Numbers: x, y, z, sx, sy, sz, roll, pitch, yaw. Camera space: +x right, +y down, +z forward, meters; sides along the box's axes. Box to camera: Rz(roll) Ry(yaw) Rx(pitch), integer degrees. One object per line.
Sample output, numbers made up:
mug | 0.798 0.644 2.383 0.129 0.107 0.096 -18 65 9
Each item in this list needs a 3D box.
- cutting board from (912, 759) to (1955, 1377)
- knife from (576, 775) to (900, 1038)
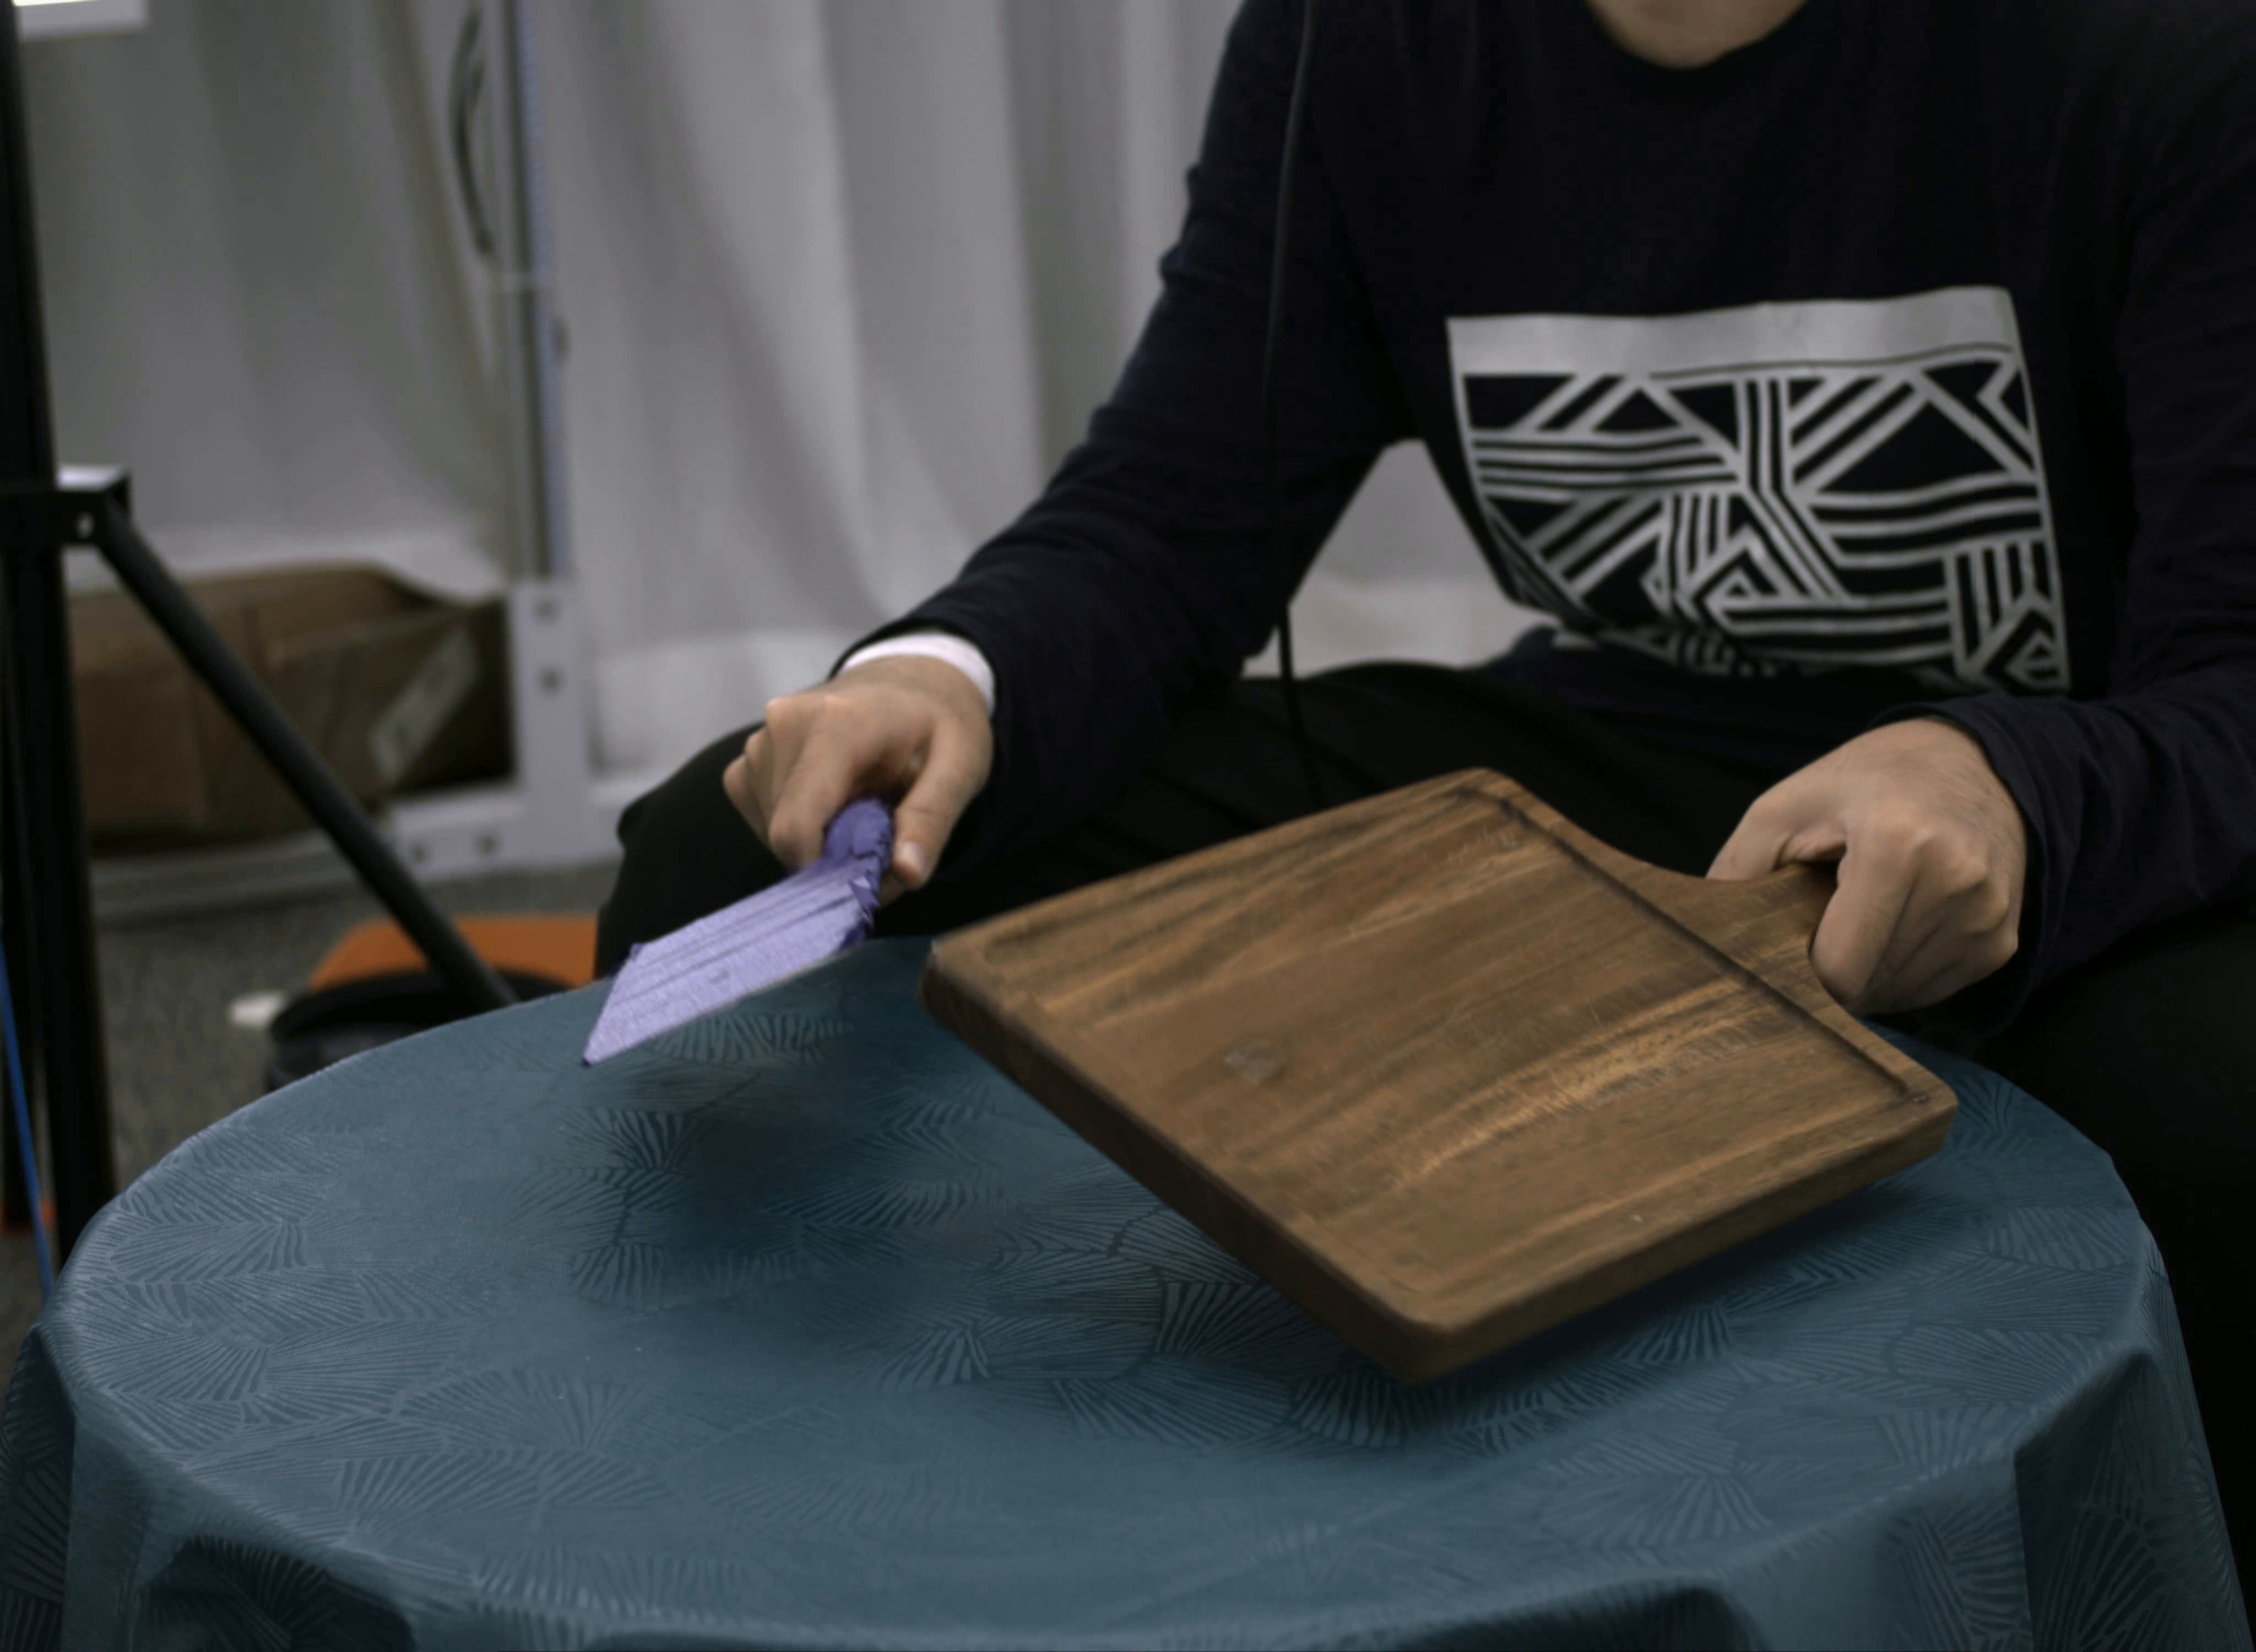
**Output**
cutting board | 0.123 0.052 1.527 0.344 0.023 0.205 -16 42 -44
knife | -0.118 0.023 1.656 0.103 0.032 0.315 -23 5 2
